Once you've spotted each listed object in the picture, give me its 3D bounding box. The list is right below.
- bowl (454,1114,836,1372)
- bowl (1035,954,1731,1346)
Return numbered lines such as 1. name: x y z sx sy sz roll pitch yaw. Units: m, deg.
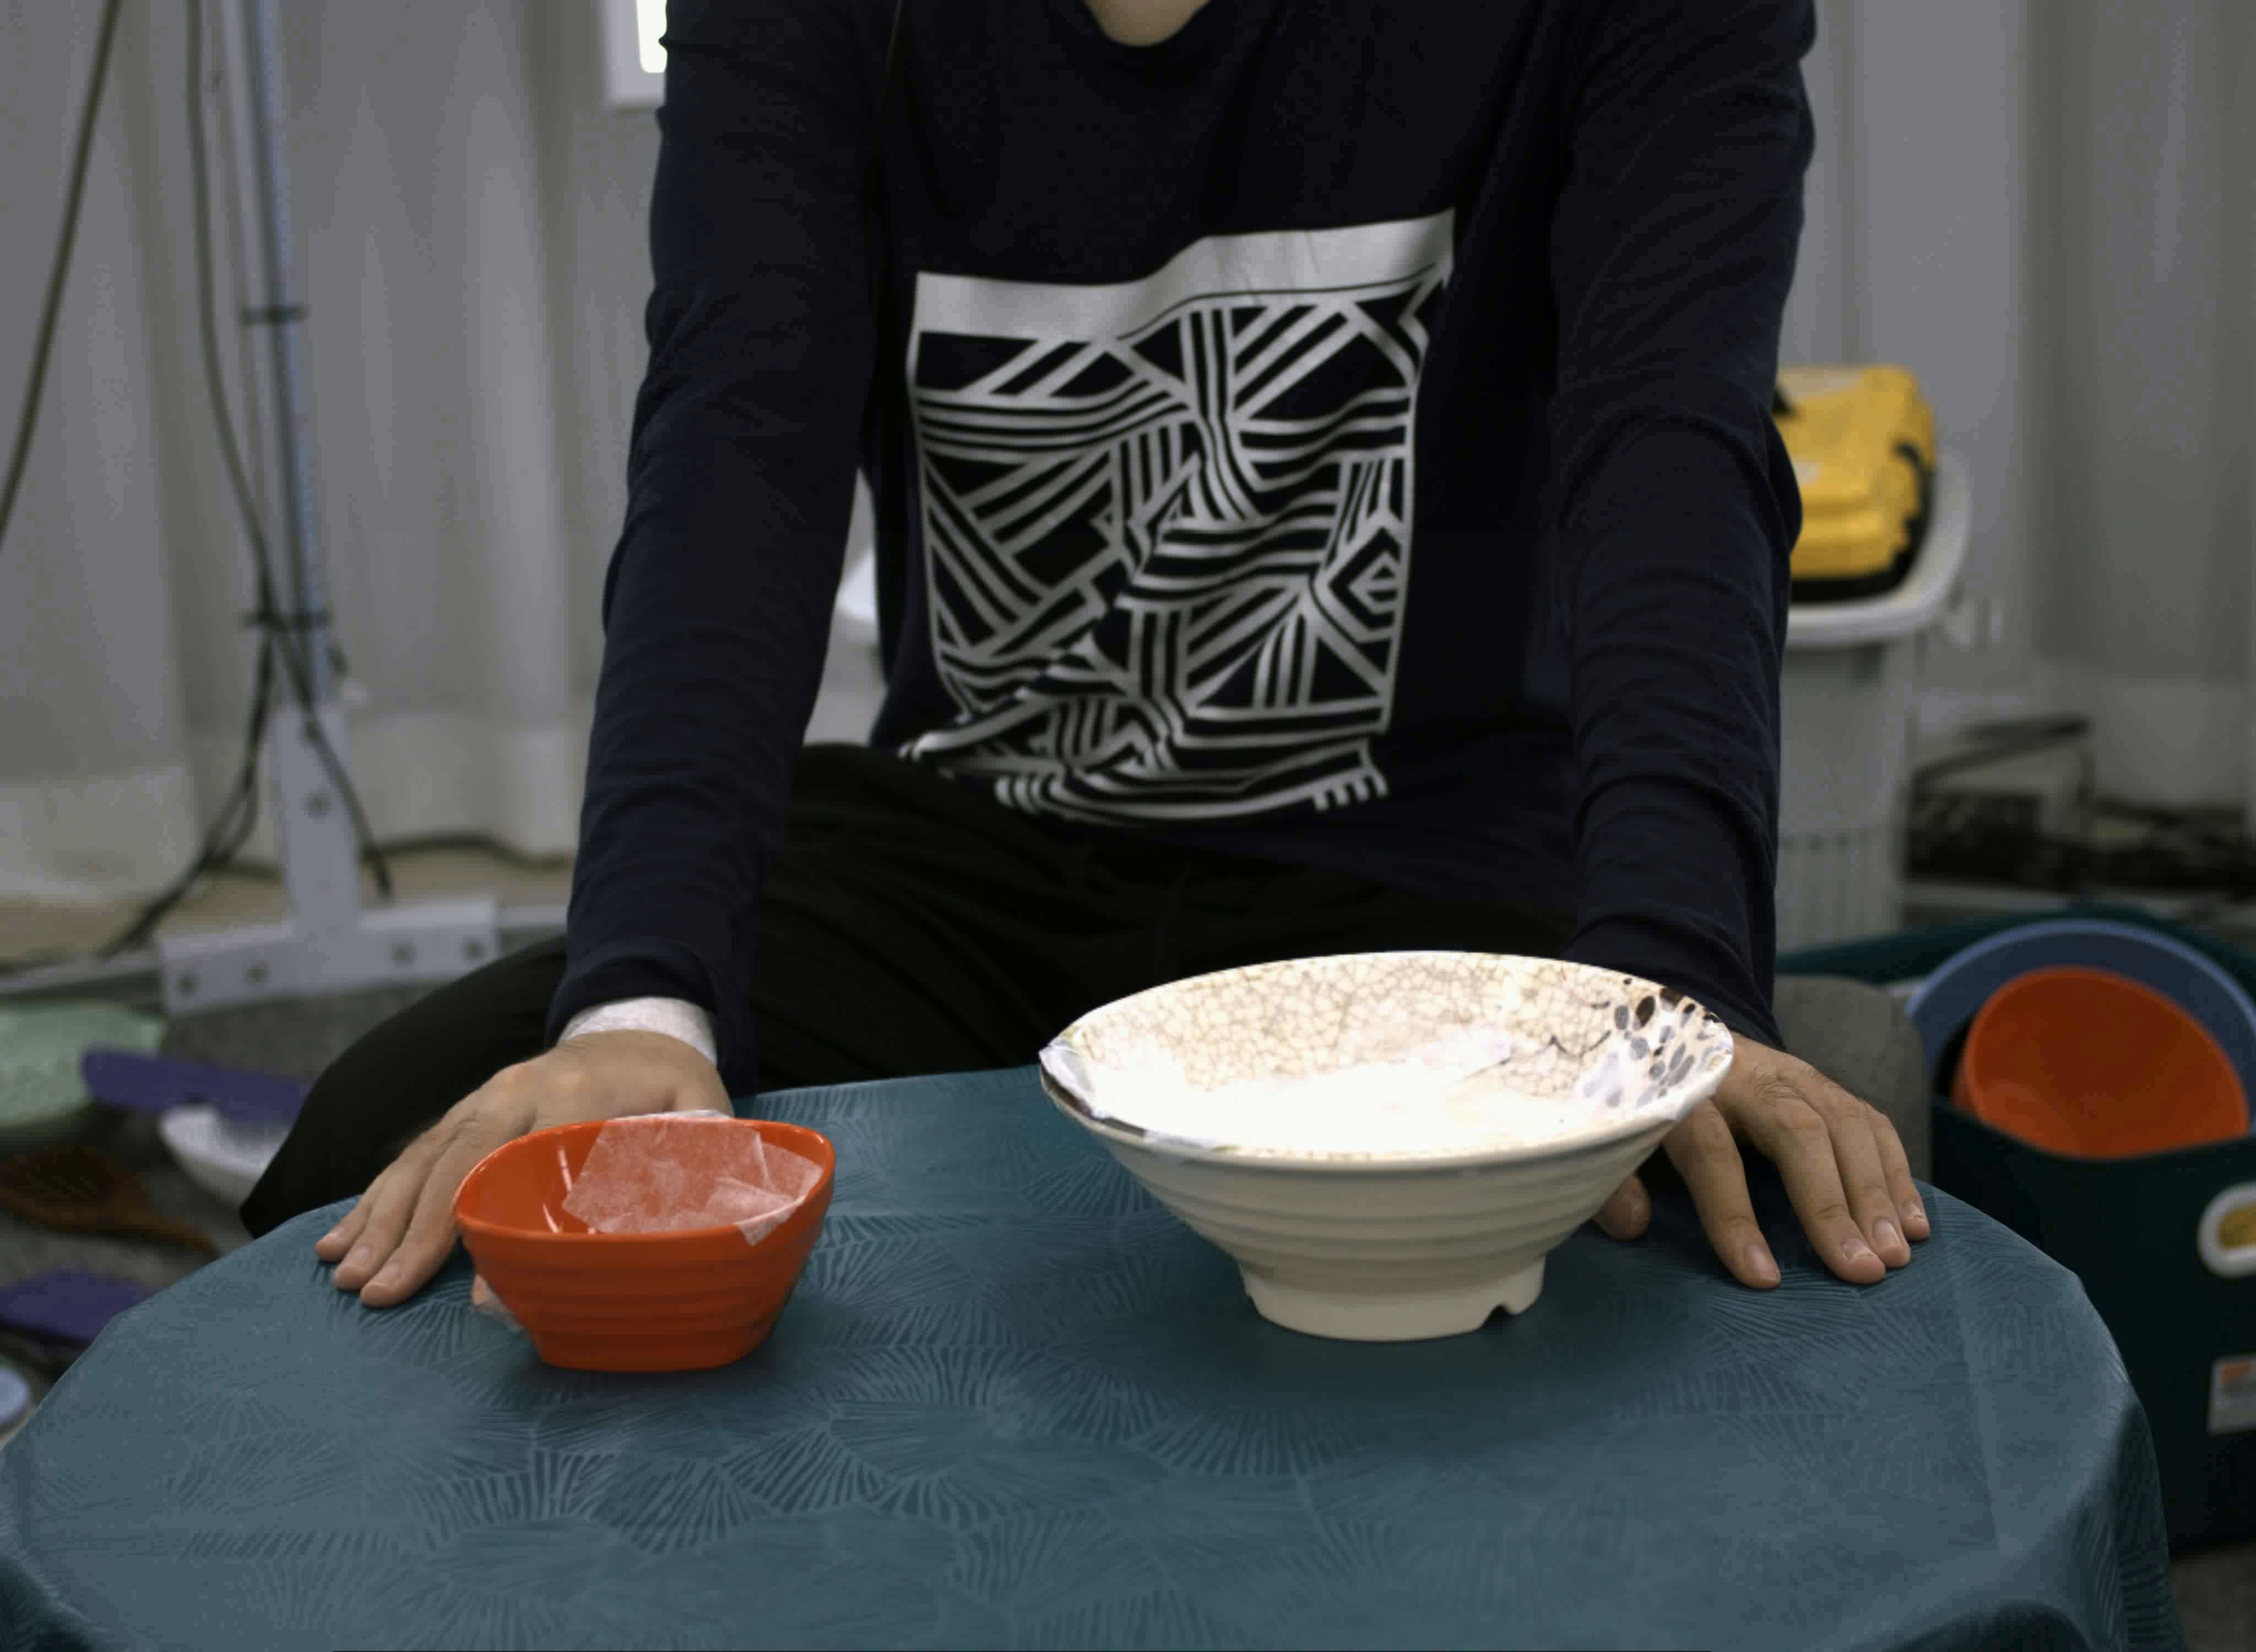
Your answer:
1. bowl: -0.139 0.125 1.605 0.118 0.051 0.120 -4 15 1
2. bowl: 0.075 0.102 1.606 0.203 0.077 0.205 -2 14 0
